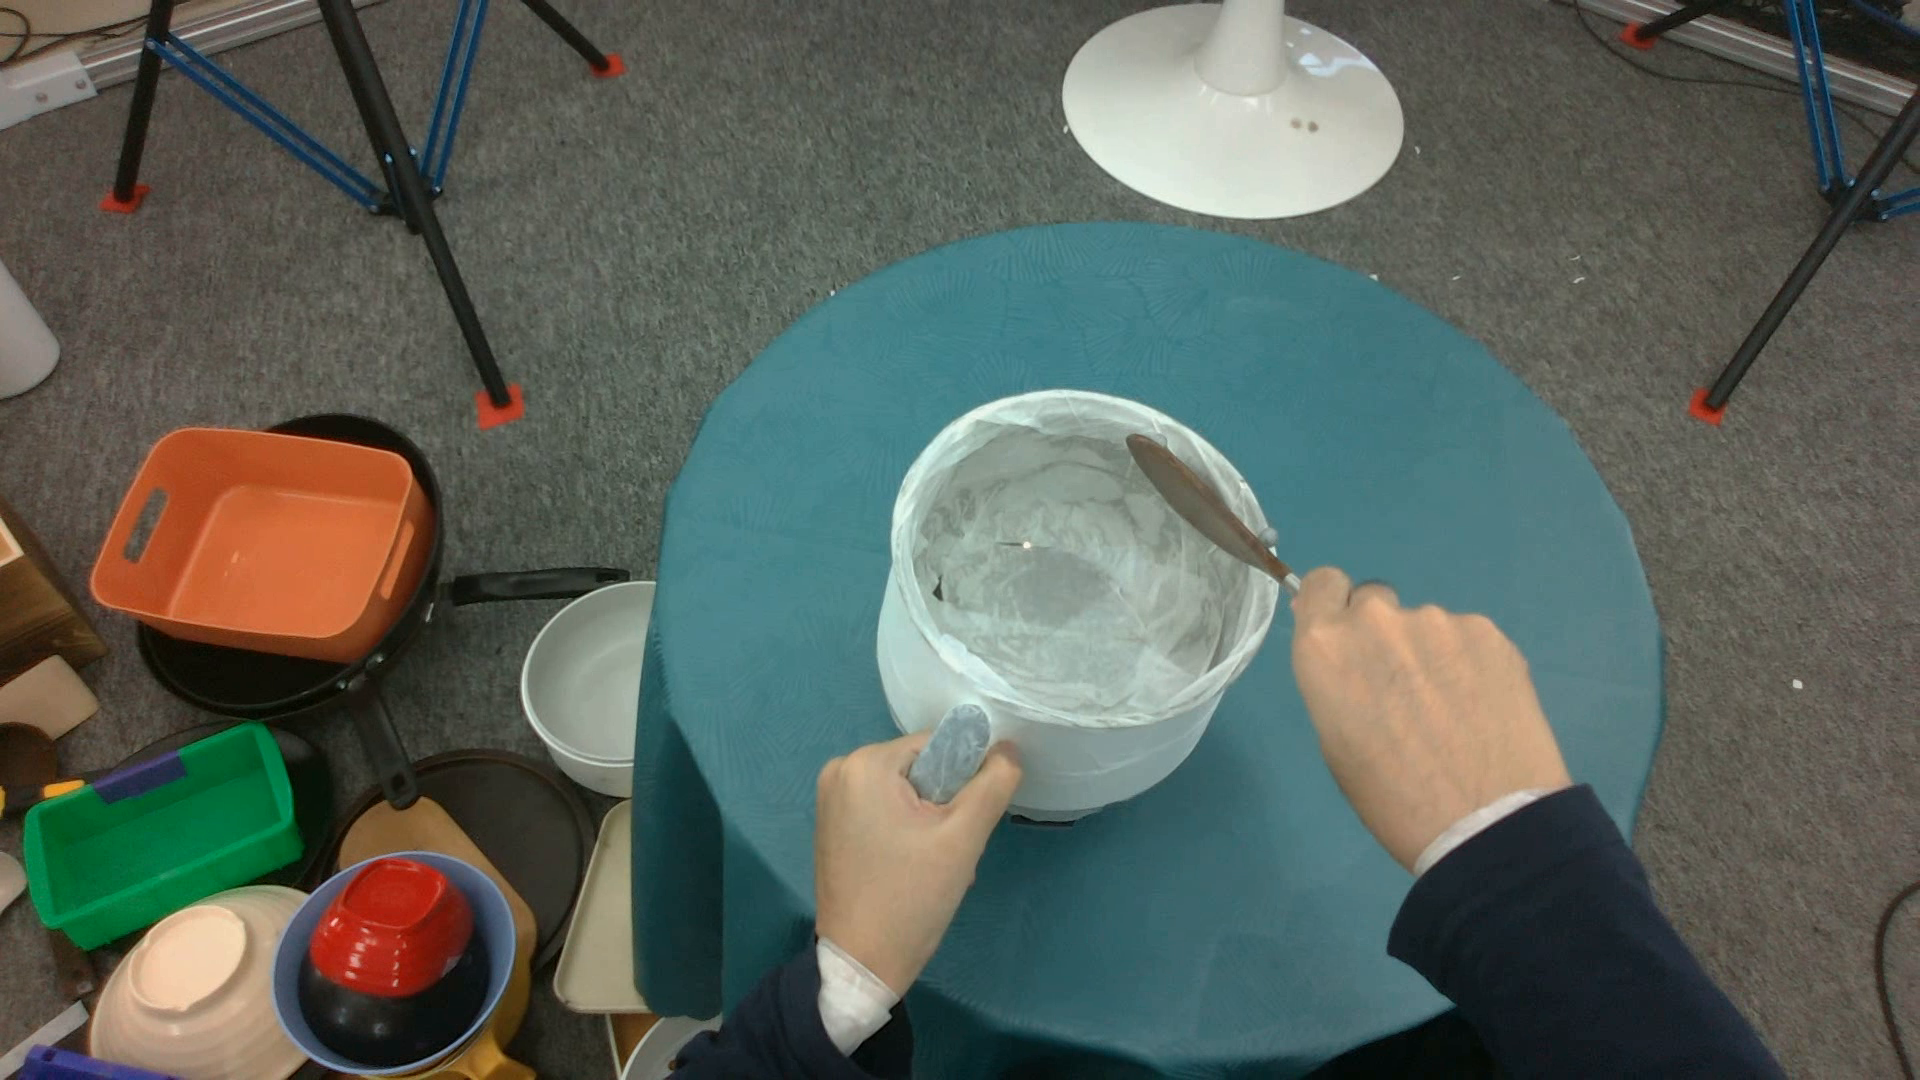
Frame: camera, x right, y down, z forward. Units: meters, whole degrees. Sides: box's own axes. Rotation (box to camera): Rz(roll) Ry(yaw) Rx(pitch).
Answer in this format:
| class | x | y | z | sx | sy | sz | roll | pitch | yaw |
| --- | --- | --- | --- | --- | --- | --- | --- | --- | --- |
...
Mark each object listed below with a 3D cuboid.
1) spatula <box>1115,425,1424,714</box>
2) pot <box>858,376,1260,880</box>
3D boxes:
| class | x | y | z | sx | sy | sz | roll | pitch | yaw |
| --- | --- | --- | --- | --- | --- | --- | --- | --- | --- |
| spatula | 0.122 | 0.008 | 0.578 | 0.009 | 0.072 | 0.216 | -41 | 37 | 2 |
| pot | 0.029 | 0.049 | 0.658 | 0.178 | 0.136 | 0.235 | 28 | 58 | 11 |
